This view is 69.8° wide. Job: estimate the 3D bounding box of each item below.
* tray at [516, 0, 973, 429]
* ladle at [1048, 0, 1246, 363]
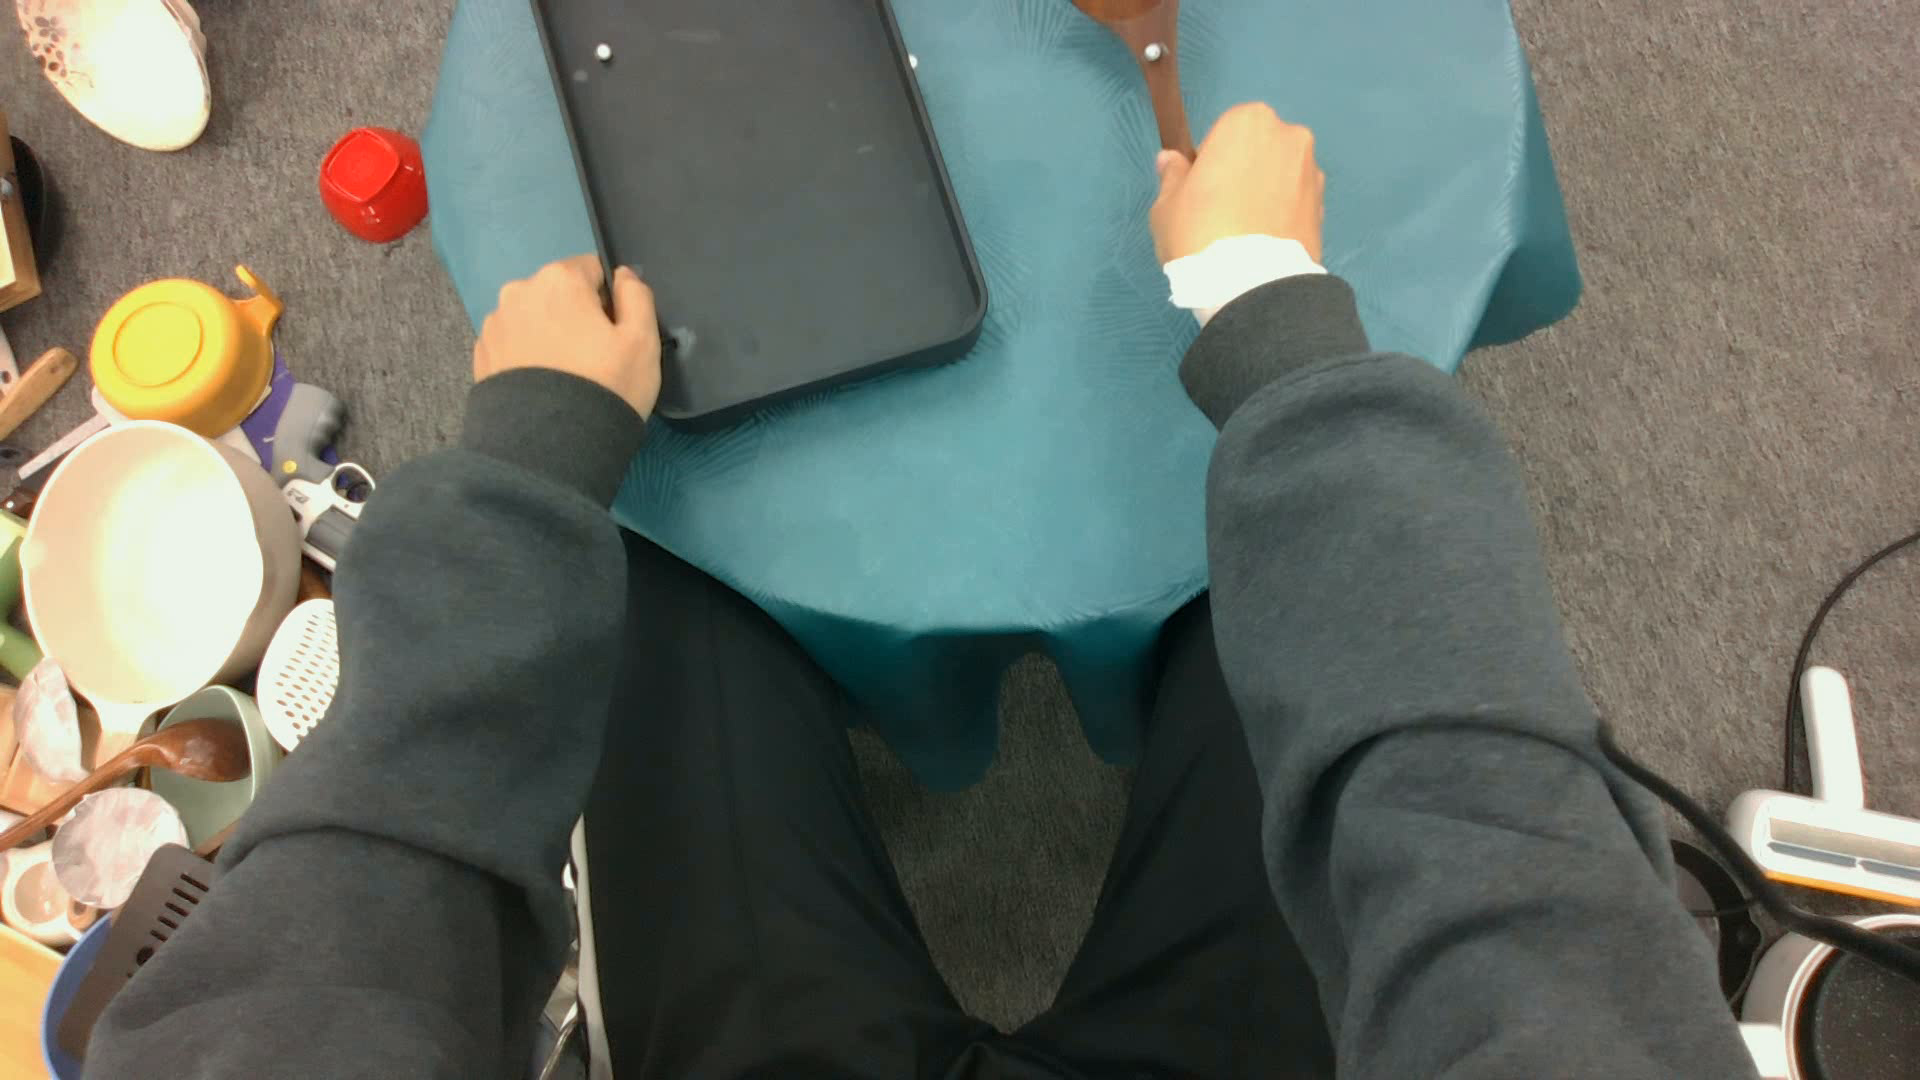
[{"bbox_3d":[-0.122,-0.225,0.732,0.184,0.037,0.318,-17,75,-4],"label":"tray"},{"bbox_3d":[0.095,-0.216,0.700,0.076,0.065,0.260,-18,80,28],"label":"ladle"}]
